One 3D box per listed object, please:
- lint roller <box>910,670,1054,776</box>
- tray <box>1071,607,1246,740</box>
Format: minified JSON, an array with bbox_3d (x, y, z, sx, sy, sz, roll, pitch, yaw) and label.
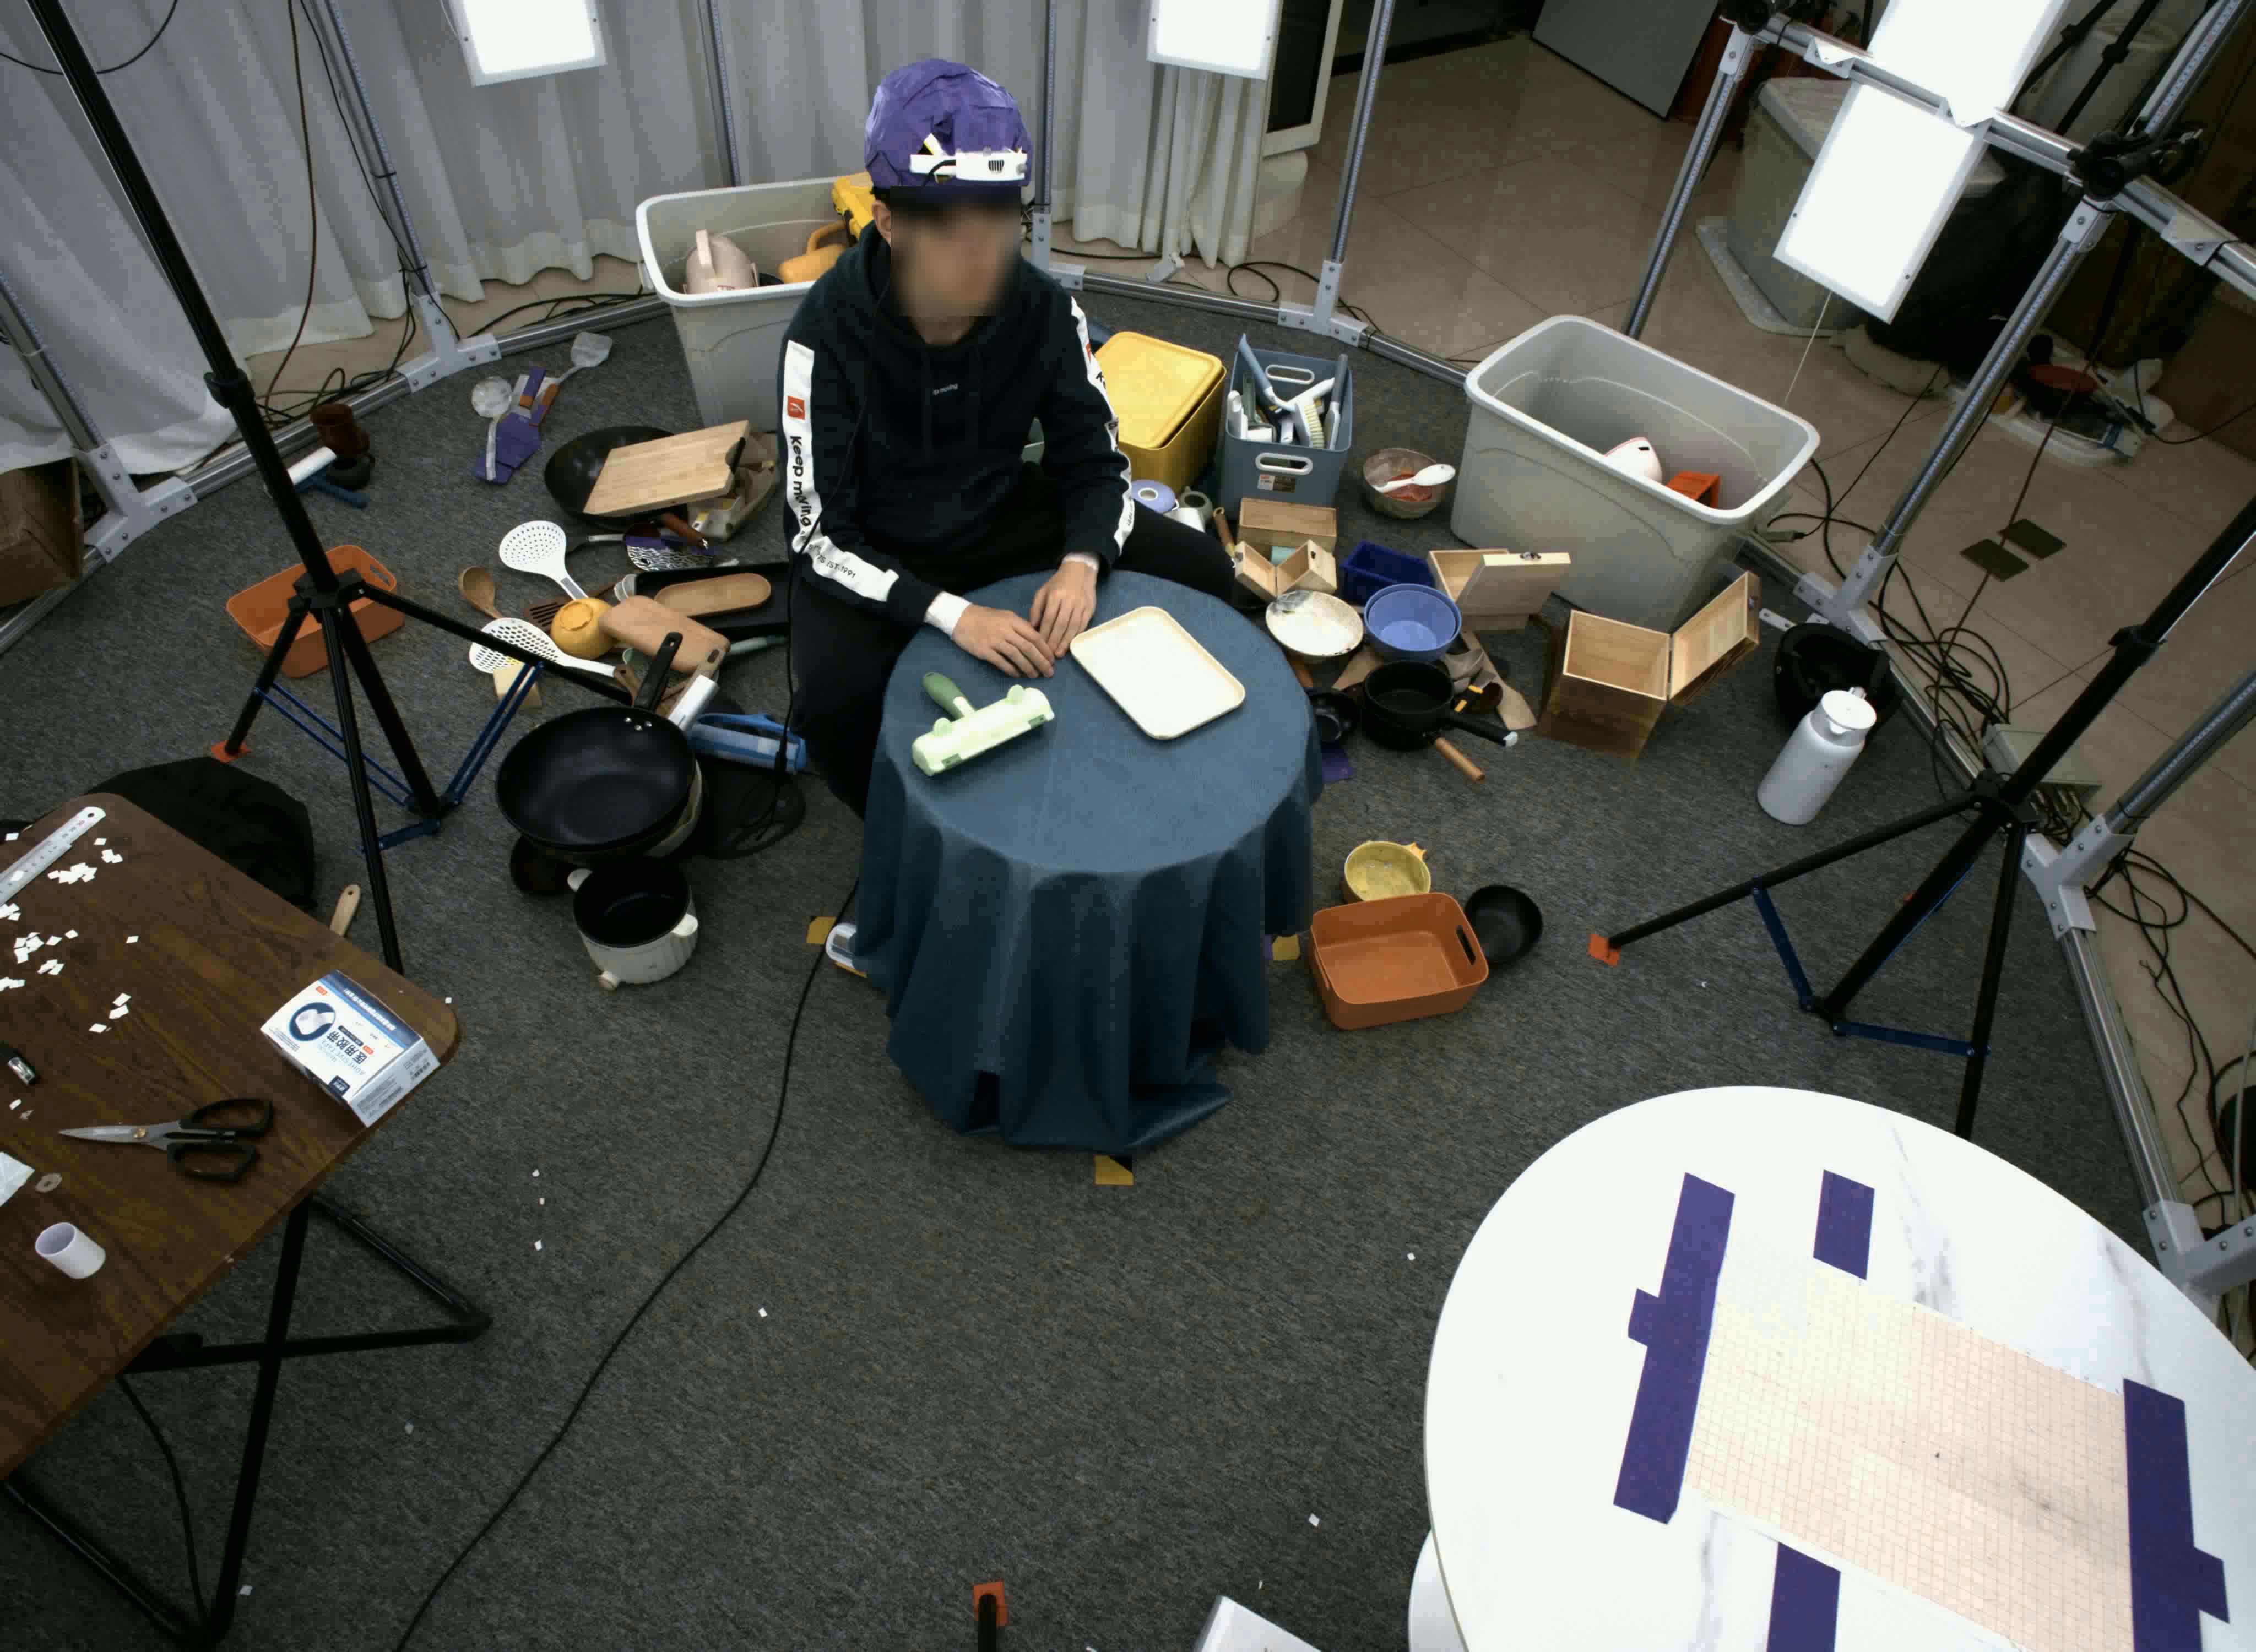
[{"bbox_3d":[-0.228,-0.171,1.751,0.199,0.080,0.186,-27,60,-24],"label":"lint roller"},{"bbox_3d":[0.042,-0.222,1.851,0.172,0.017,0.244,-27,56,-25],"label":"tray"}]
